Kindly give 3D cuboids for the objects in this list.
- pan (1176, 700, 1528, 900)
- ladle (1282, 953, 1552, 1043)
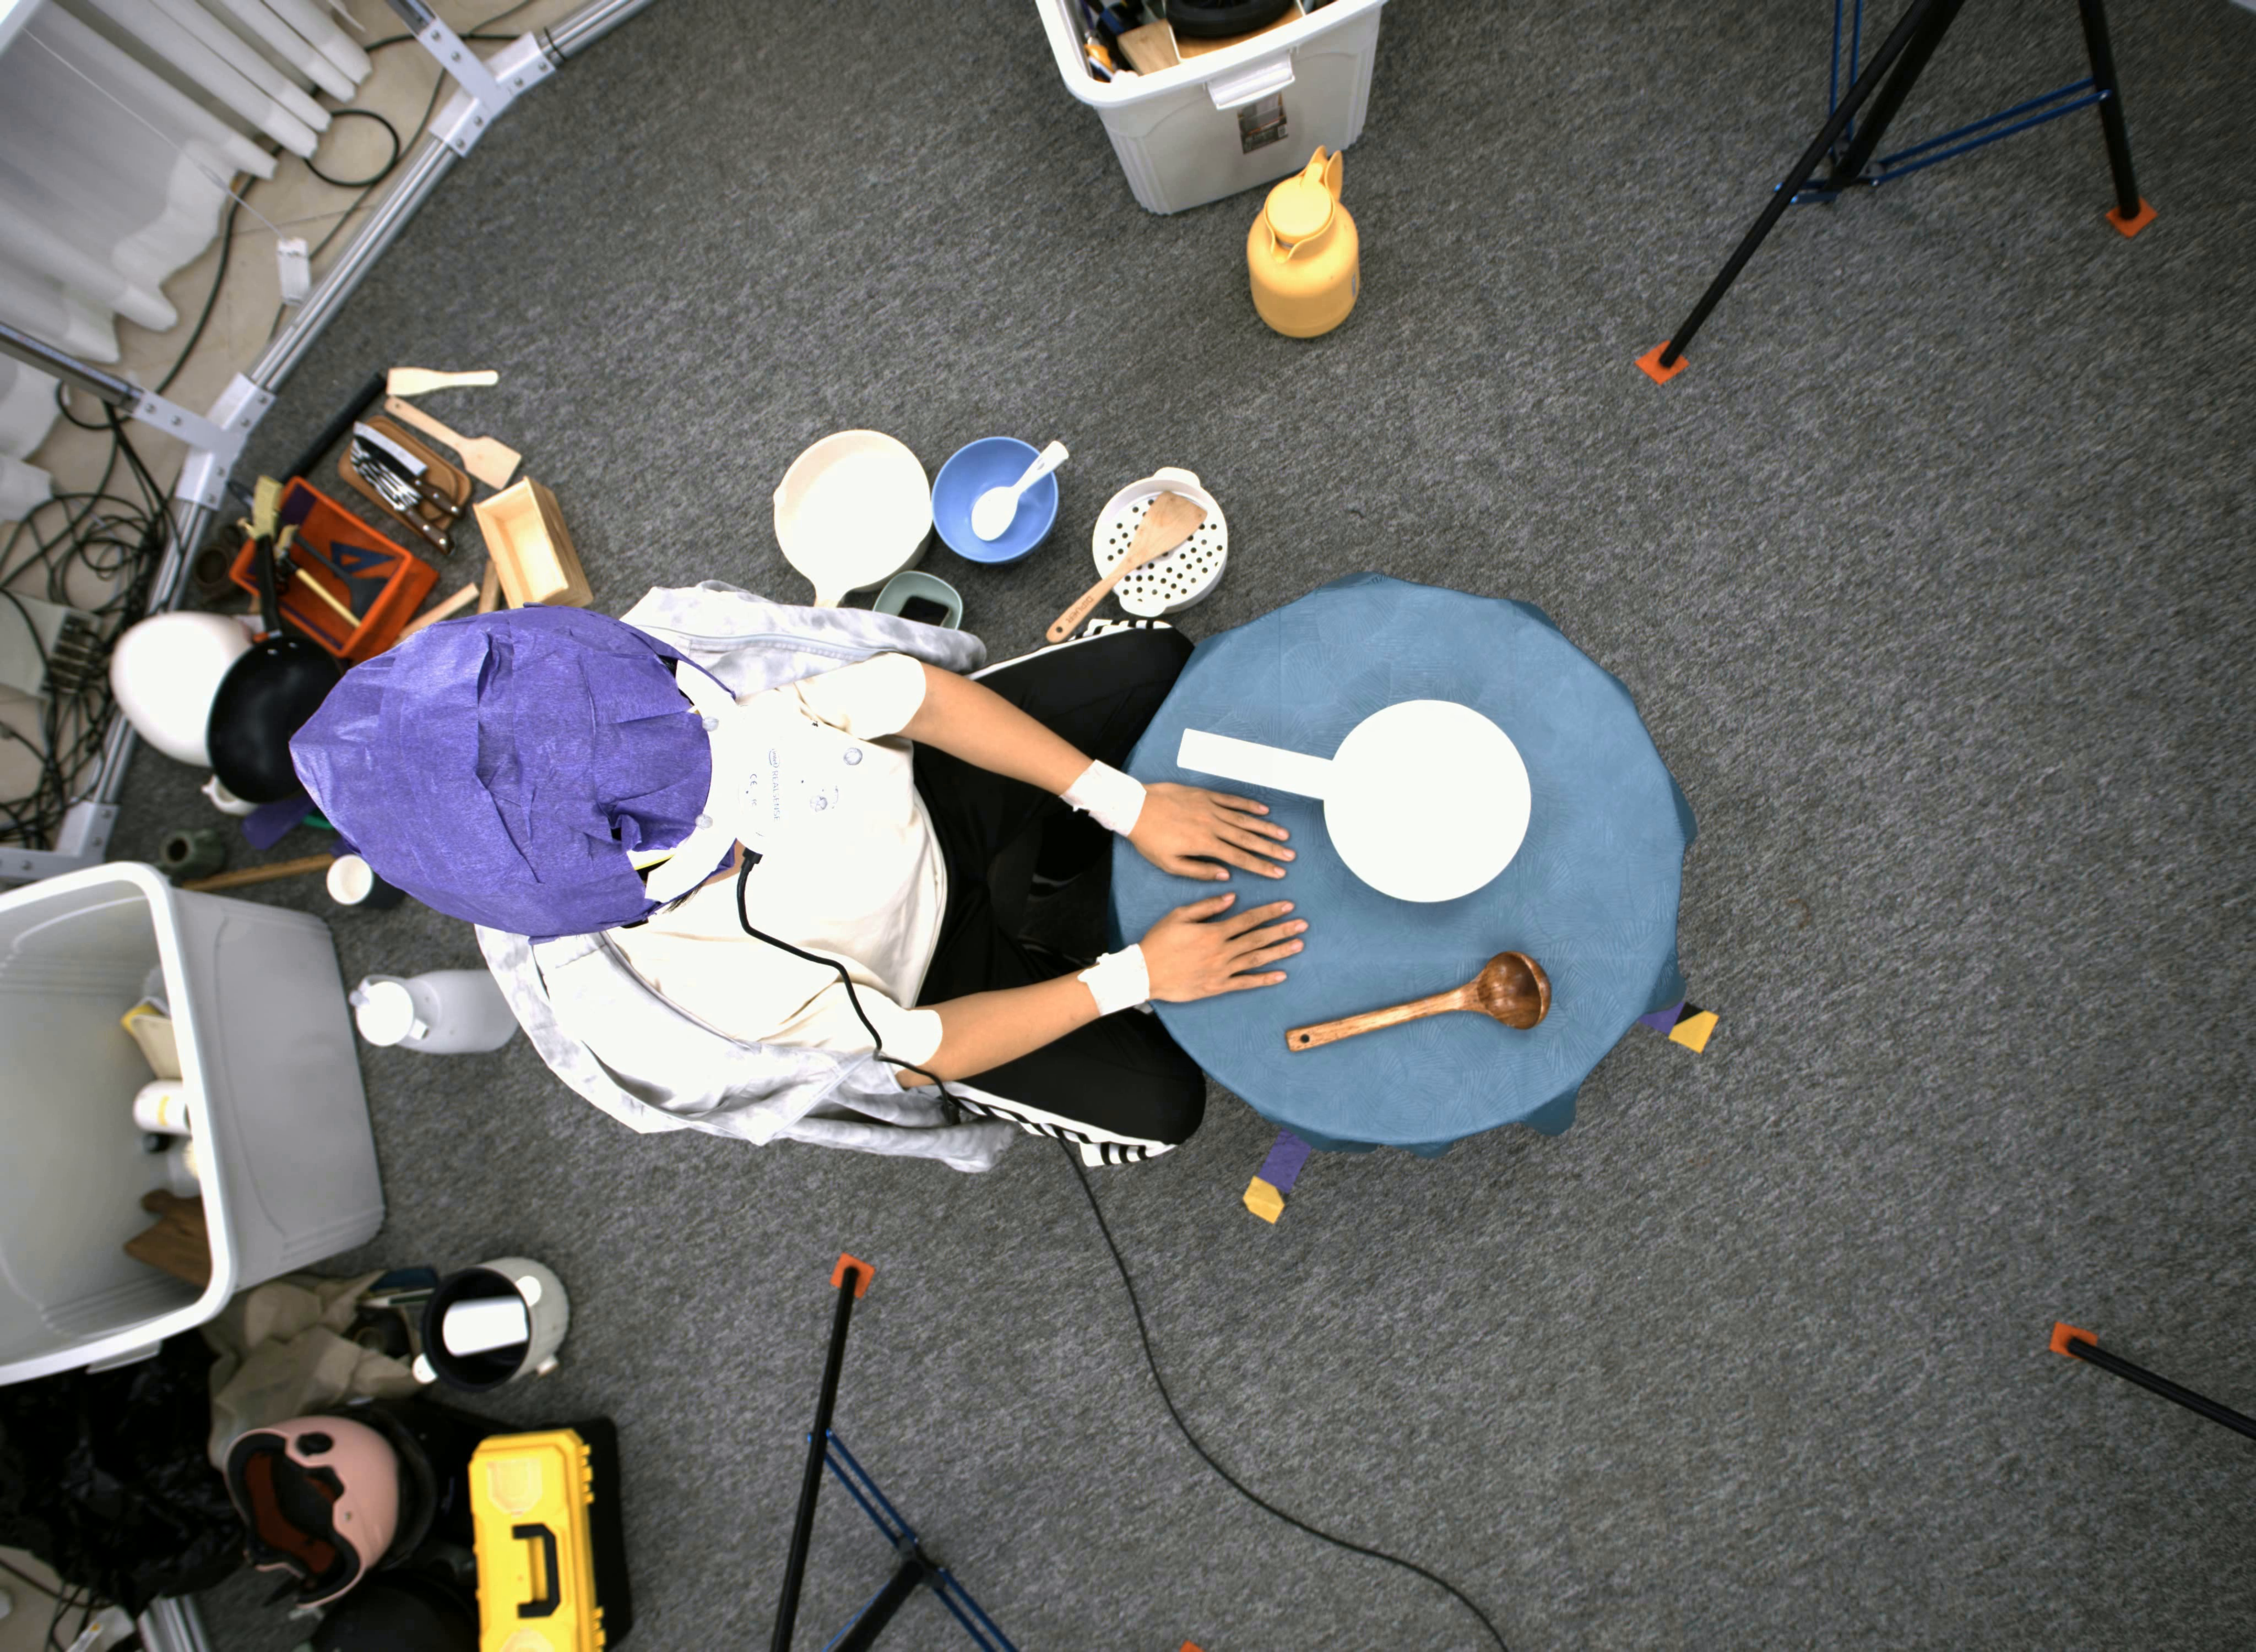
[{"bbox_3d":[0.228,-0.041,1.422,0.355,0.102,0.201,14,90,12],"label":"pan"},{"bbox_3d":[0.292,0.189,1.407,0.275,0.076,0.081,-13,85,9],"label":"ladle"}]
